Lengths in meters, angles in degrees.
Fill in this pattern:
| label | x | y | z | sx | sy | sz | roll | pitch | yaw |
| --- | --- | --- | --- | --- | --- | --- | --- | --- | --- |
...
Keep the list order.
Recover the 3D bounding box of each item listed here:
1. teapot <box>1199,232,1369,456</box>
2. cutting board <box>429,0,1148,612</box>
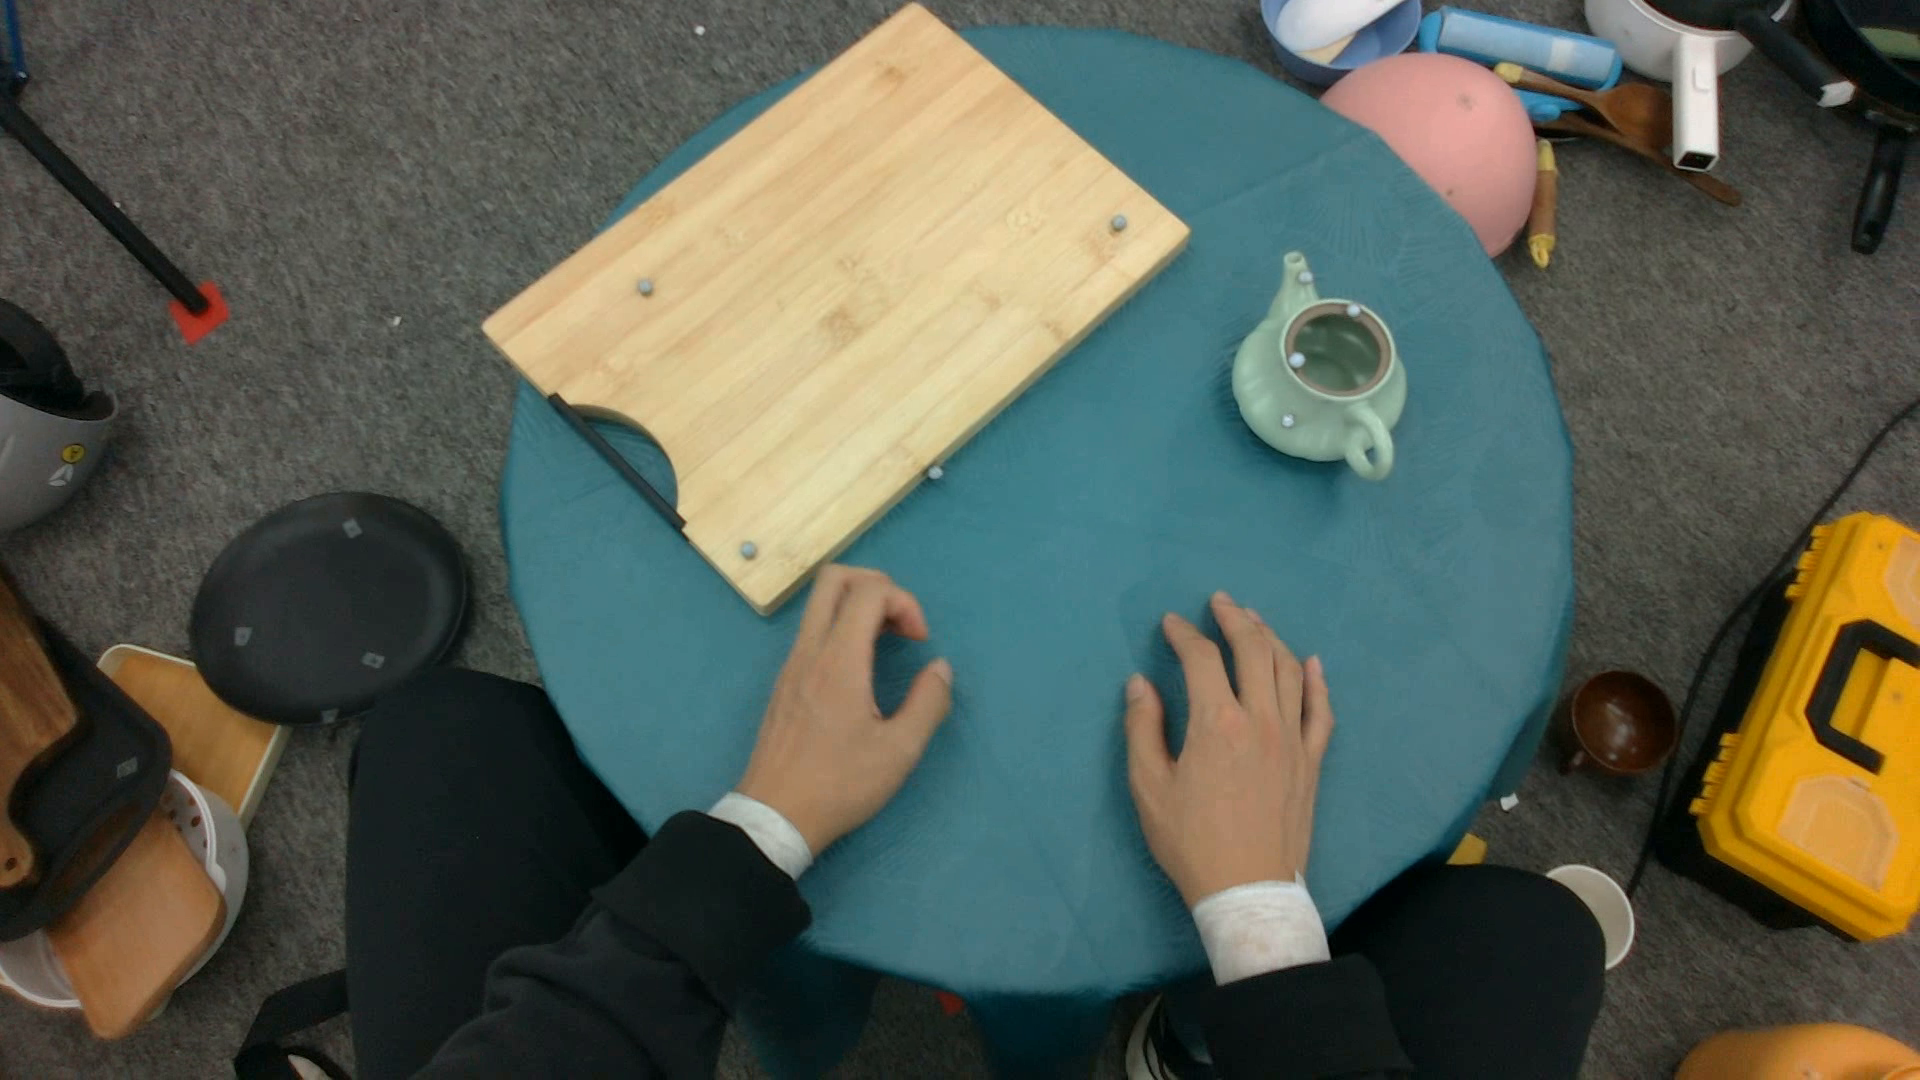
| label | x | y | z | sx | sy | sz | roll | pitch | yaw |
| --- | --- | --- | --- | --- | --- | --- | --- | --- | --- |
| teapot | 0.186 | -0.103 | 0.768 | 0.096 | 0.061 | 0.137 | -20 | 70 | -11 |
| cutting board | -0.092 | -0.155 | 0.802 | 0.251 | 0.023 | 0.349 | 41 | 73 | 13 |
